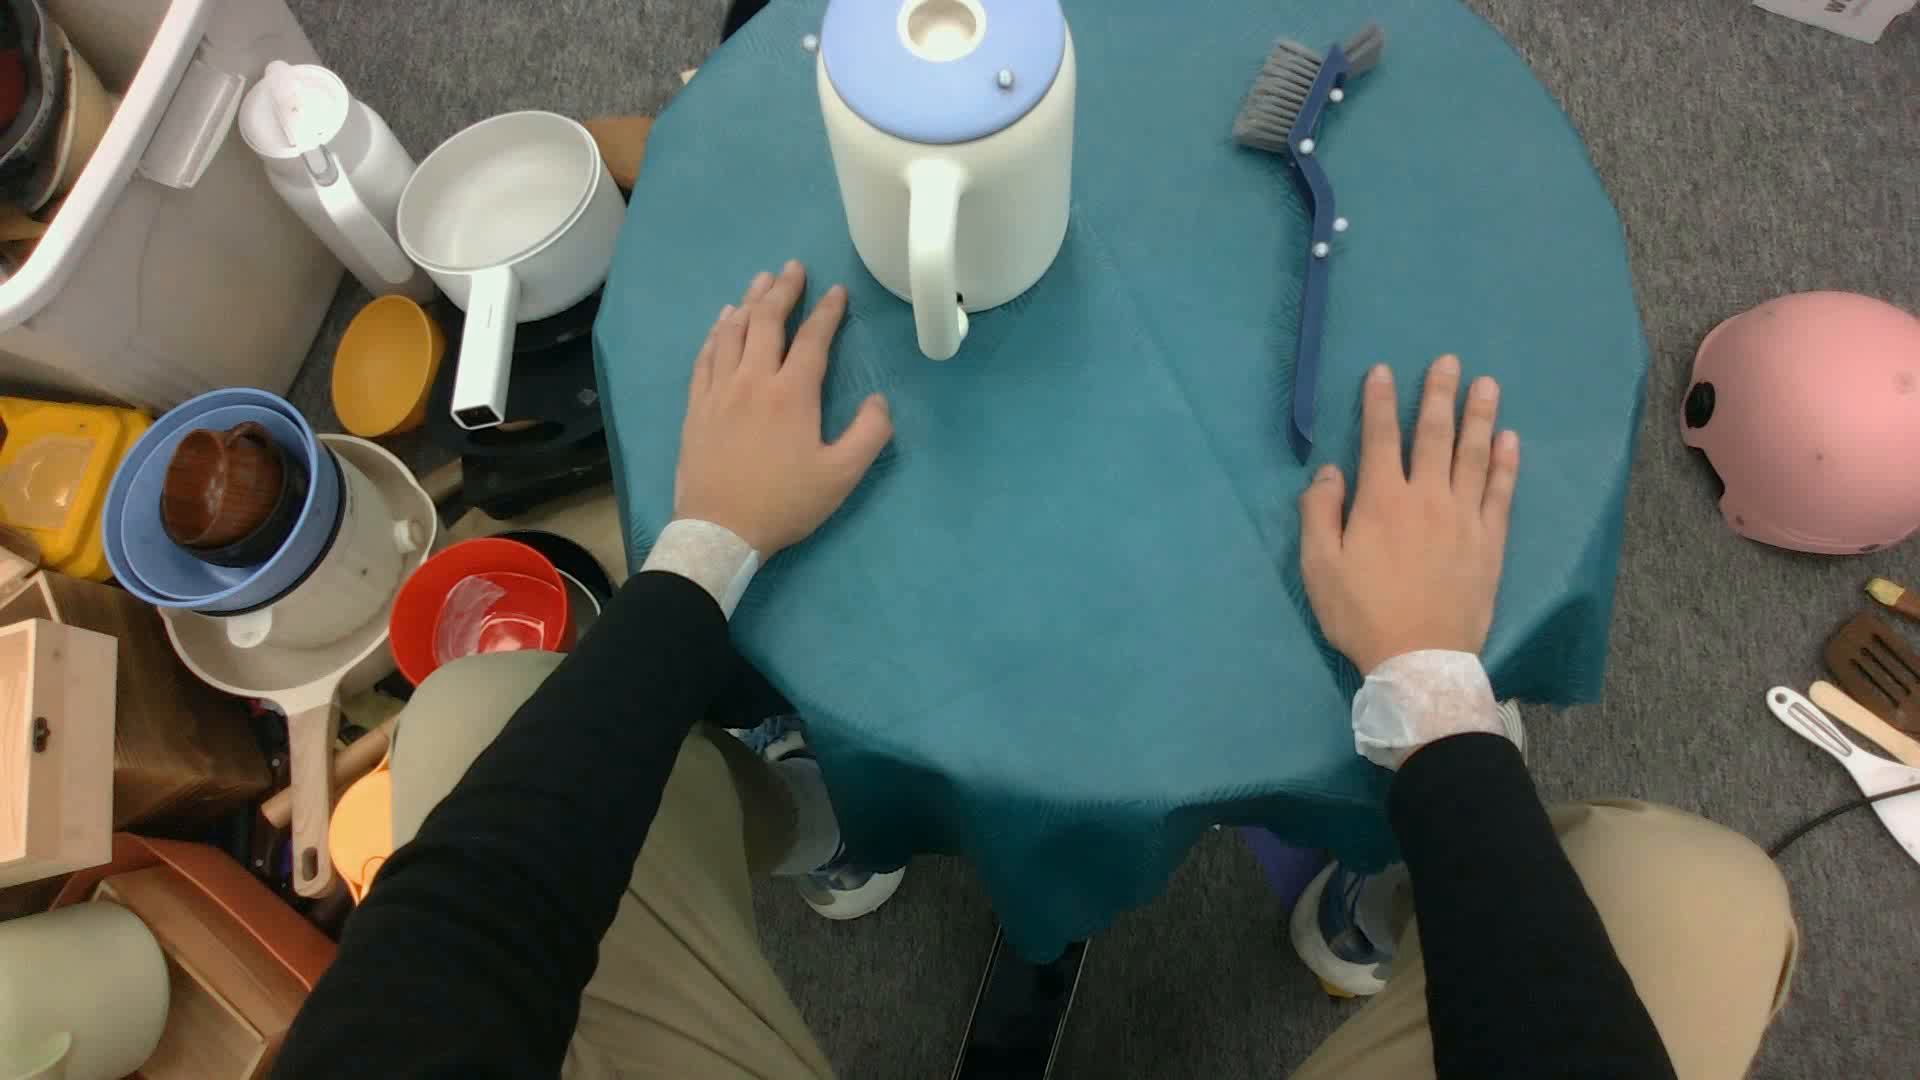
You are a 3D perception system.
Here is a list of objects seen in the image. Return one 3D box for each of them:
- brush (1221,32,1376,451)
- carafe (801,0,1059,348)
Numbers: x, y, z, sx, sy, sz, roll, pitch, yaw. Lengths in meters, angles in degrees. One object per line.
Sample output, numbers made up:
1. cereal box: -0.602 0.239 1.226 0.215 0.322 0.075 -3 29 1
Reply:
1. brush: 0.202 -0.181 0.800 0.096 0.033 0.274 2 71 -1
2. carafe: -0.015 -0.201 0.738 0.132 0.182 0.191 1 73 3
